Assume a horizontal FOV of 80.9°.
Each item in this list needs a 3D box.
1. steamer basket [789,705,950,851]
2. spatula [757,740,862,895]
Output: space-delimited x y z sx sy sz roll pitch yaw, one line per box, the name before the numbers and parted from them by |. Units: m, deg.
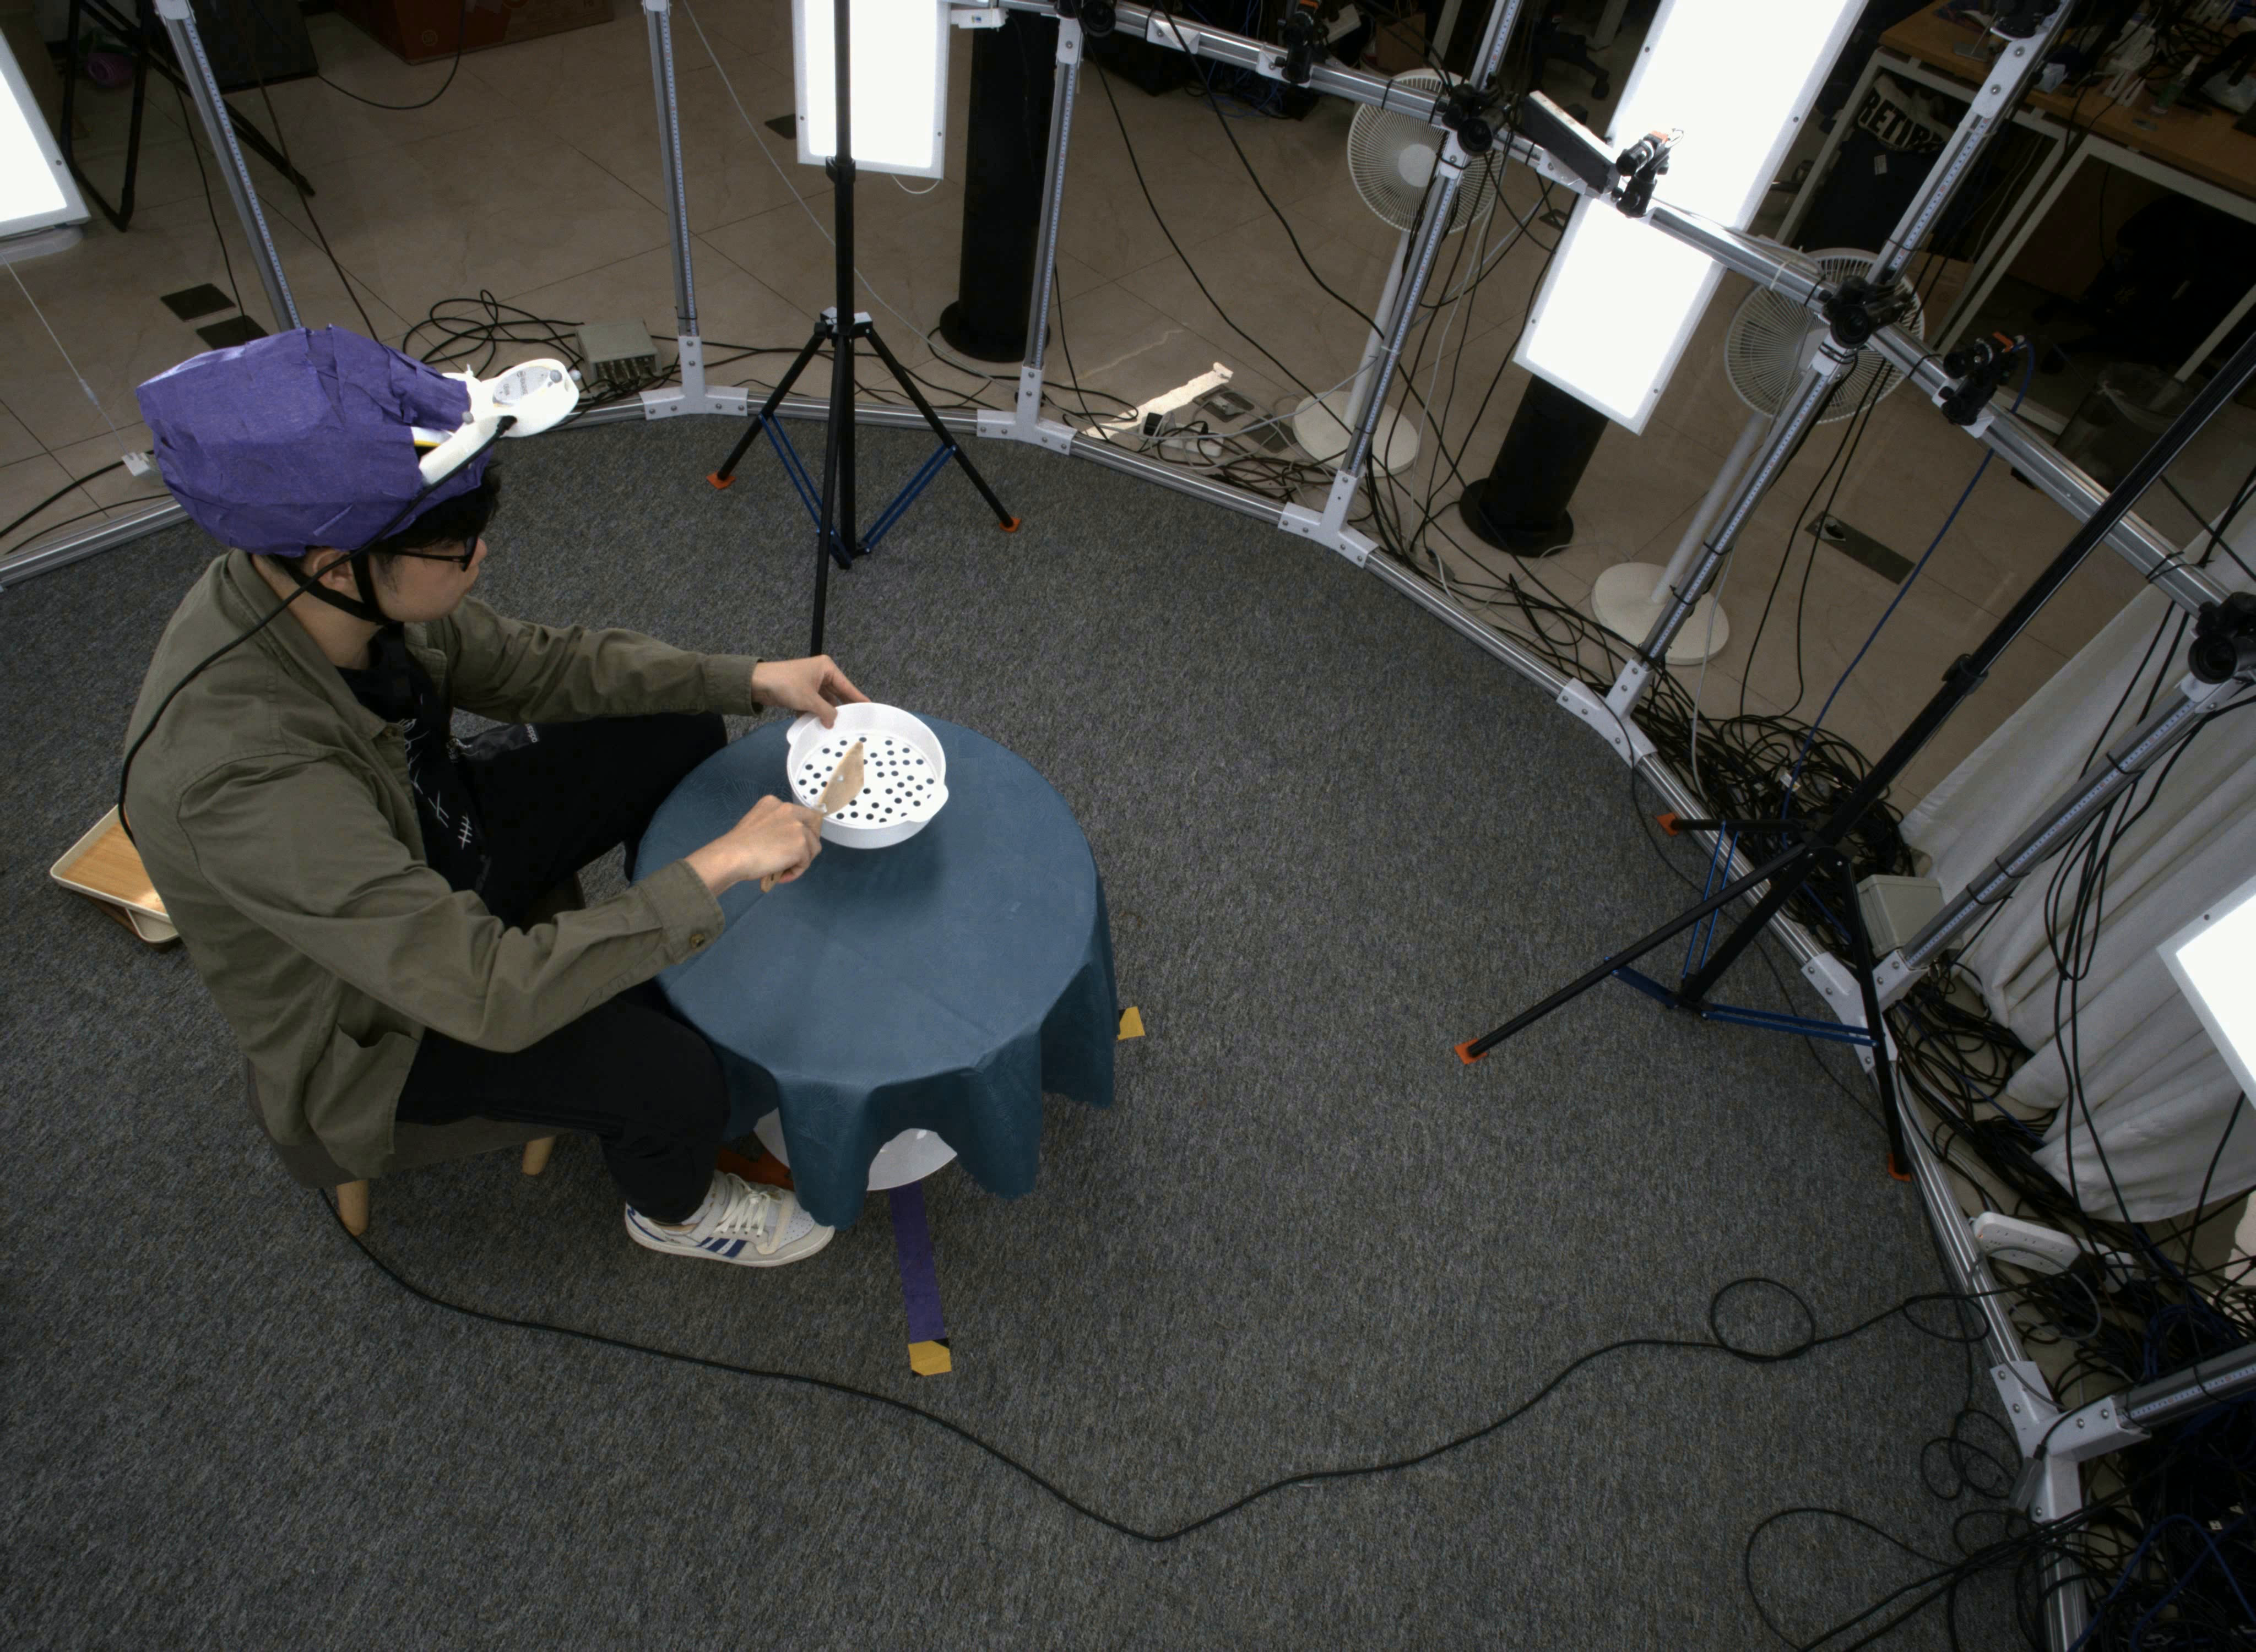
steamer basket | -0.337 -0.061 1.694 0.226 0.070 0.201 31 55 10
spatula | -0.364 -0.009 1.501 0.016 0.082 0.323 11 28 3
